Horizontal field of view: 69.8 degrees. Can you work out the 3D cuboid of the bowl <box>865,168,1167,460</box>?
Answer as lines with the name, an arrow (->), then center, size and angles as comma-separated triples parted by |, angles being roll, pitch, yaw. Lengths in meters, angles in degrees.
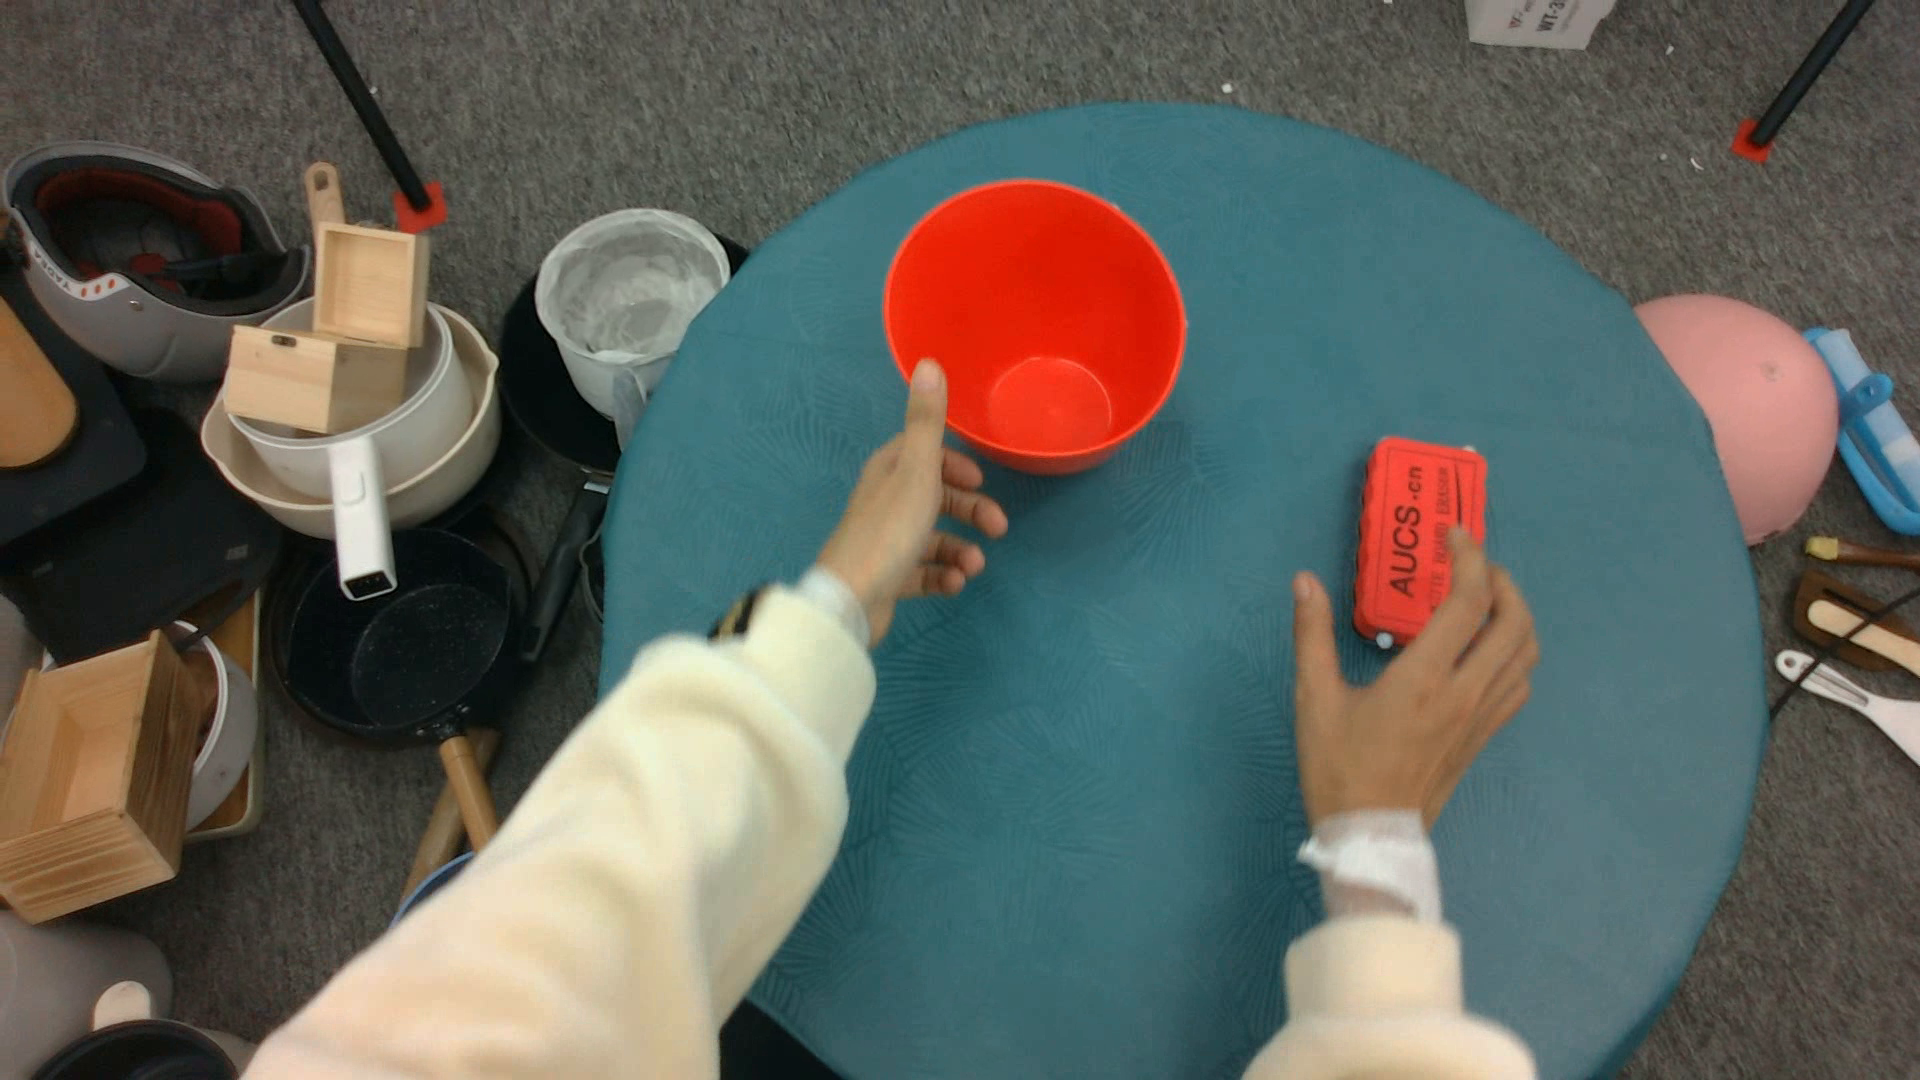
bowl -> 0.029, -0.101, 0.706 | 0.148, 0.104, 0.148 | 0, 65, 0

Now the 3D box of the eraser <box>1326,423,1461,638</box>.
eraser -> 0.225, -0.006, 0.715 | 0.059, 0.023, 0.108 | 13, 67, 1
